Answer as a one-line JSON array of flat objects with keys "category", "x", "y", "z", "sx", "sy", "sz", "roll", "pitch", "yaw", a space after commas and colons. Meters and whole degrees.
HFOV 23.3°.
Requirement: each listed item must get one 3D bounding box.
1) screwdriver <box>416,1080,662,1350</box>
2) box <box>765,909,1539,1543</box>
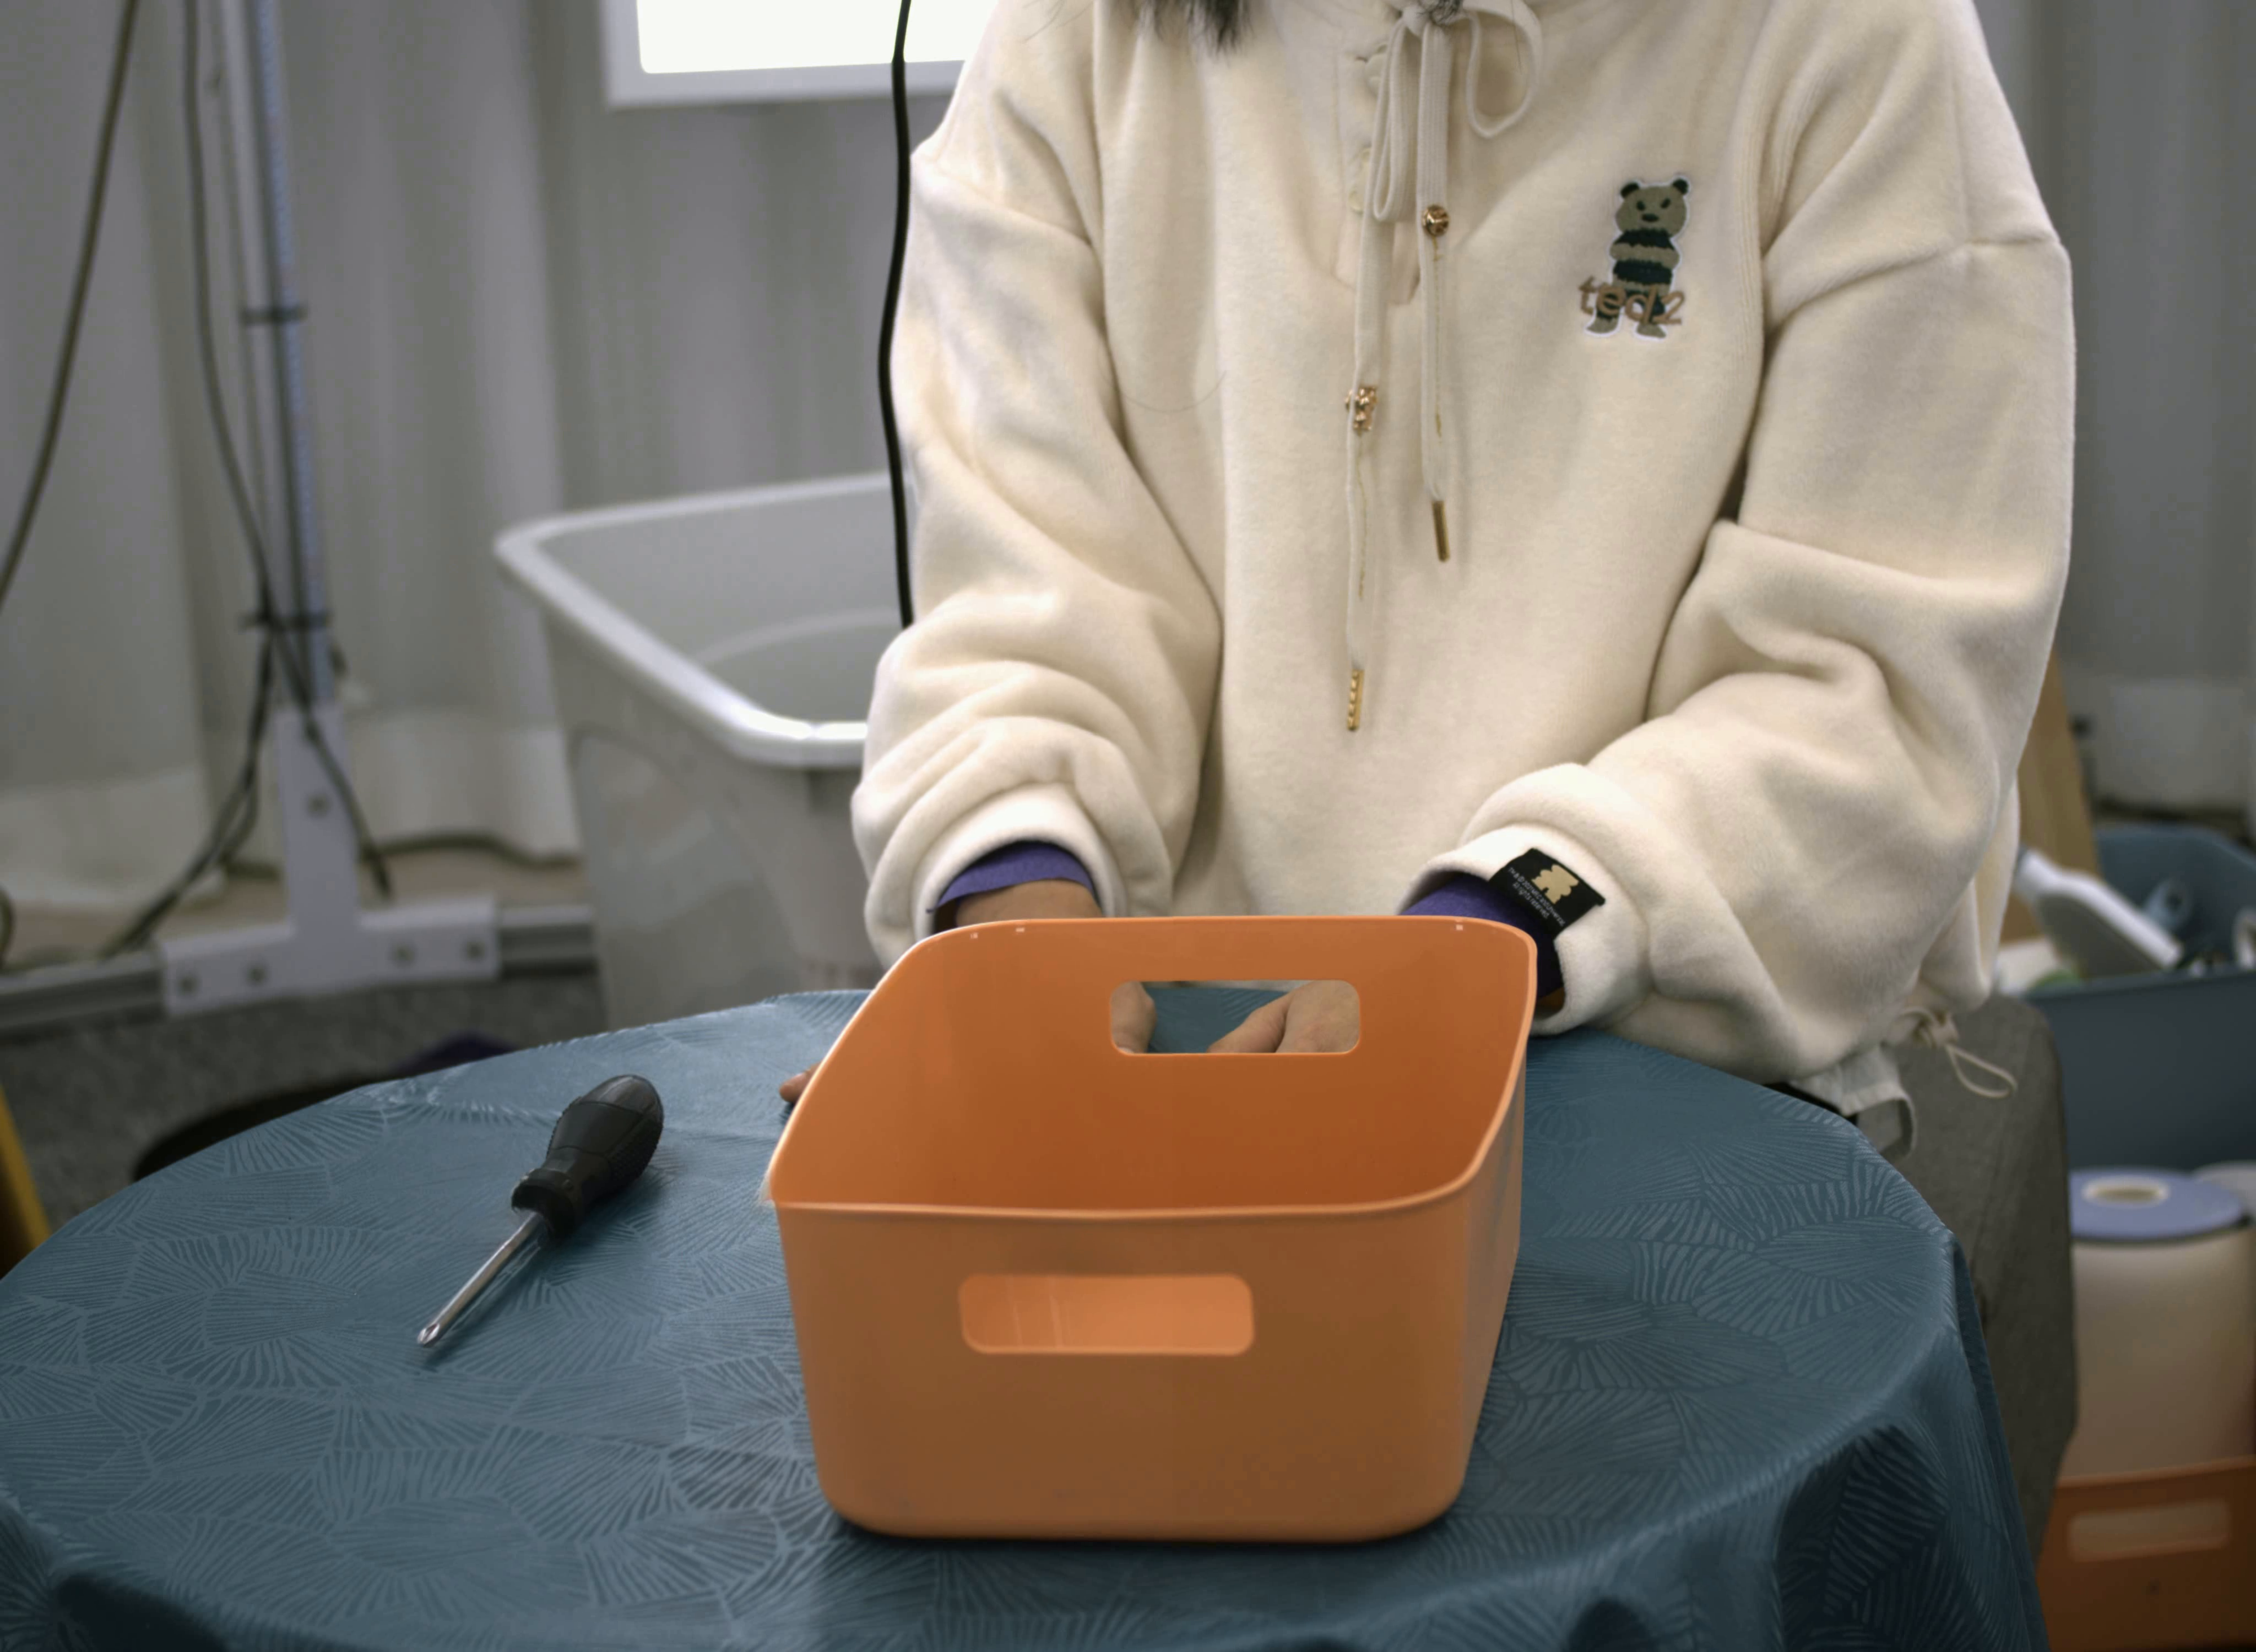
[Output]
[{"category": "screwdriver", "x": -0.186, "y": 0.122, "z": 1.685, "sx": 0.031, "sy": 0.031, "sz": 0.197, "roll": 2, "pitch": 19, "yaw": 17}, {"category": "box", "x": 0.016, "y": 0.109, "z": 1.530, "sx": 0.199, "sy": 0.102, "sz": 0.275, "roll": -2, "pitch": 15, "yaw": 9}]
